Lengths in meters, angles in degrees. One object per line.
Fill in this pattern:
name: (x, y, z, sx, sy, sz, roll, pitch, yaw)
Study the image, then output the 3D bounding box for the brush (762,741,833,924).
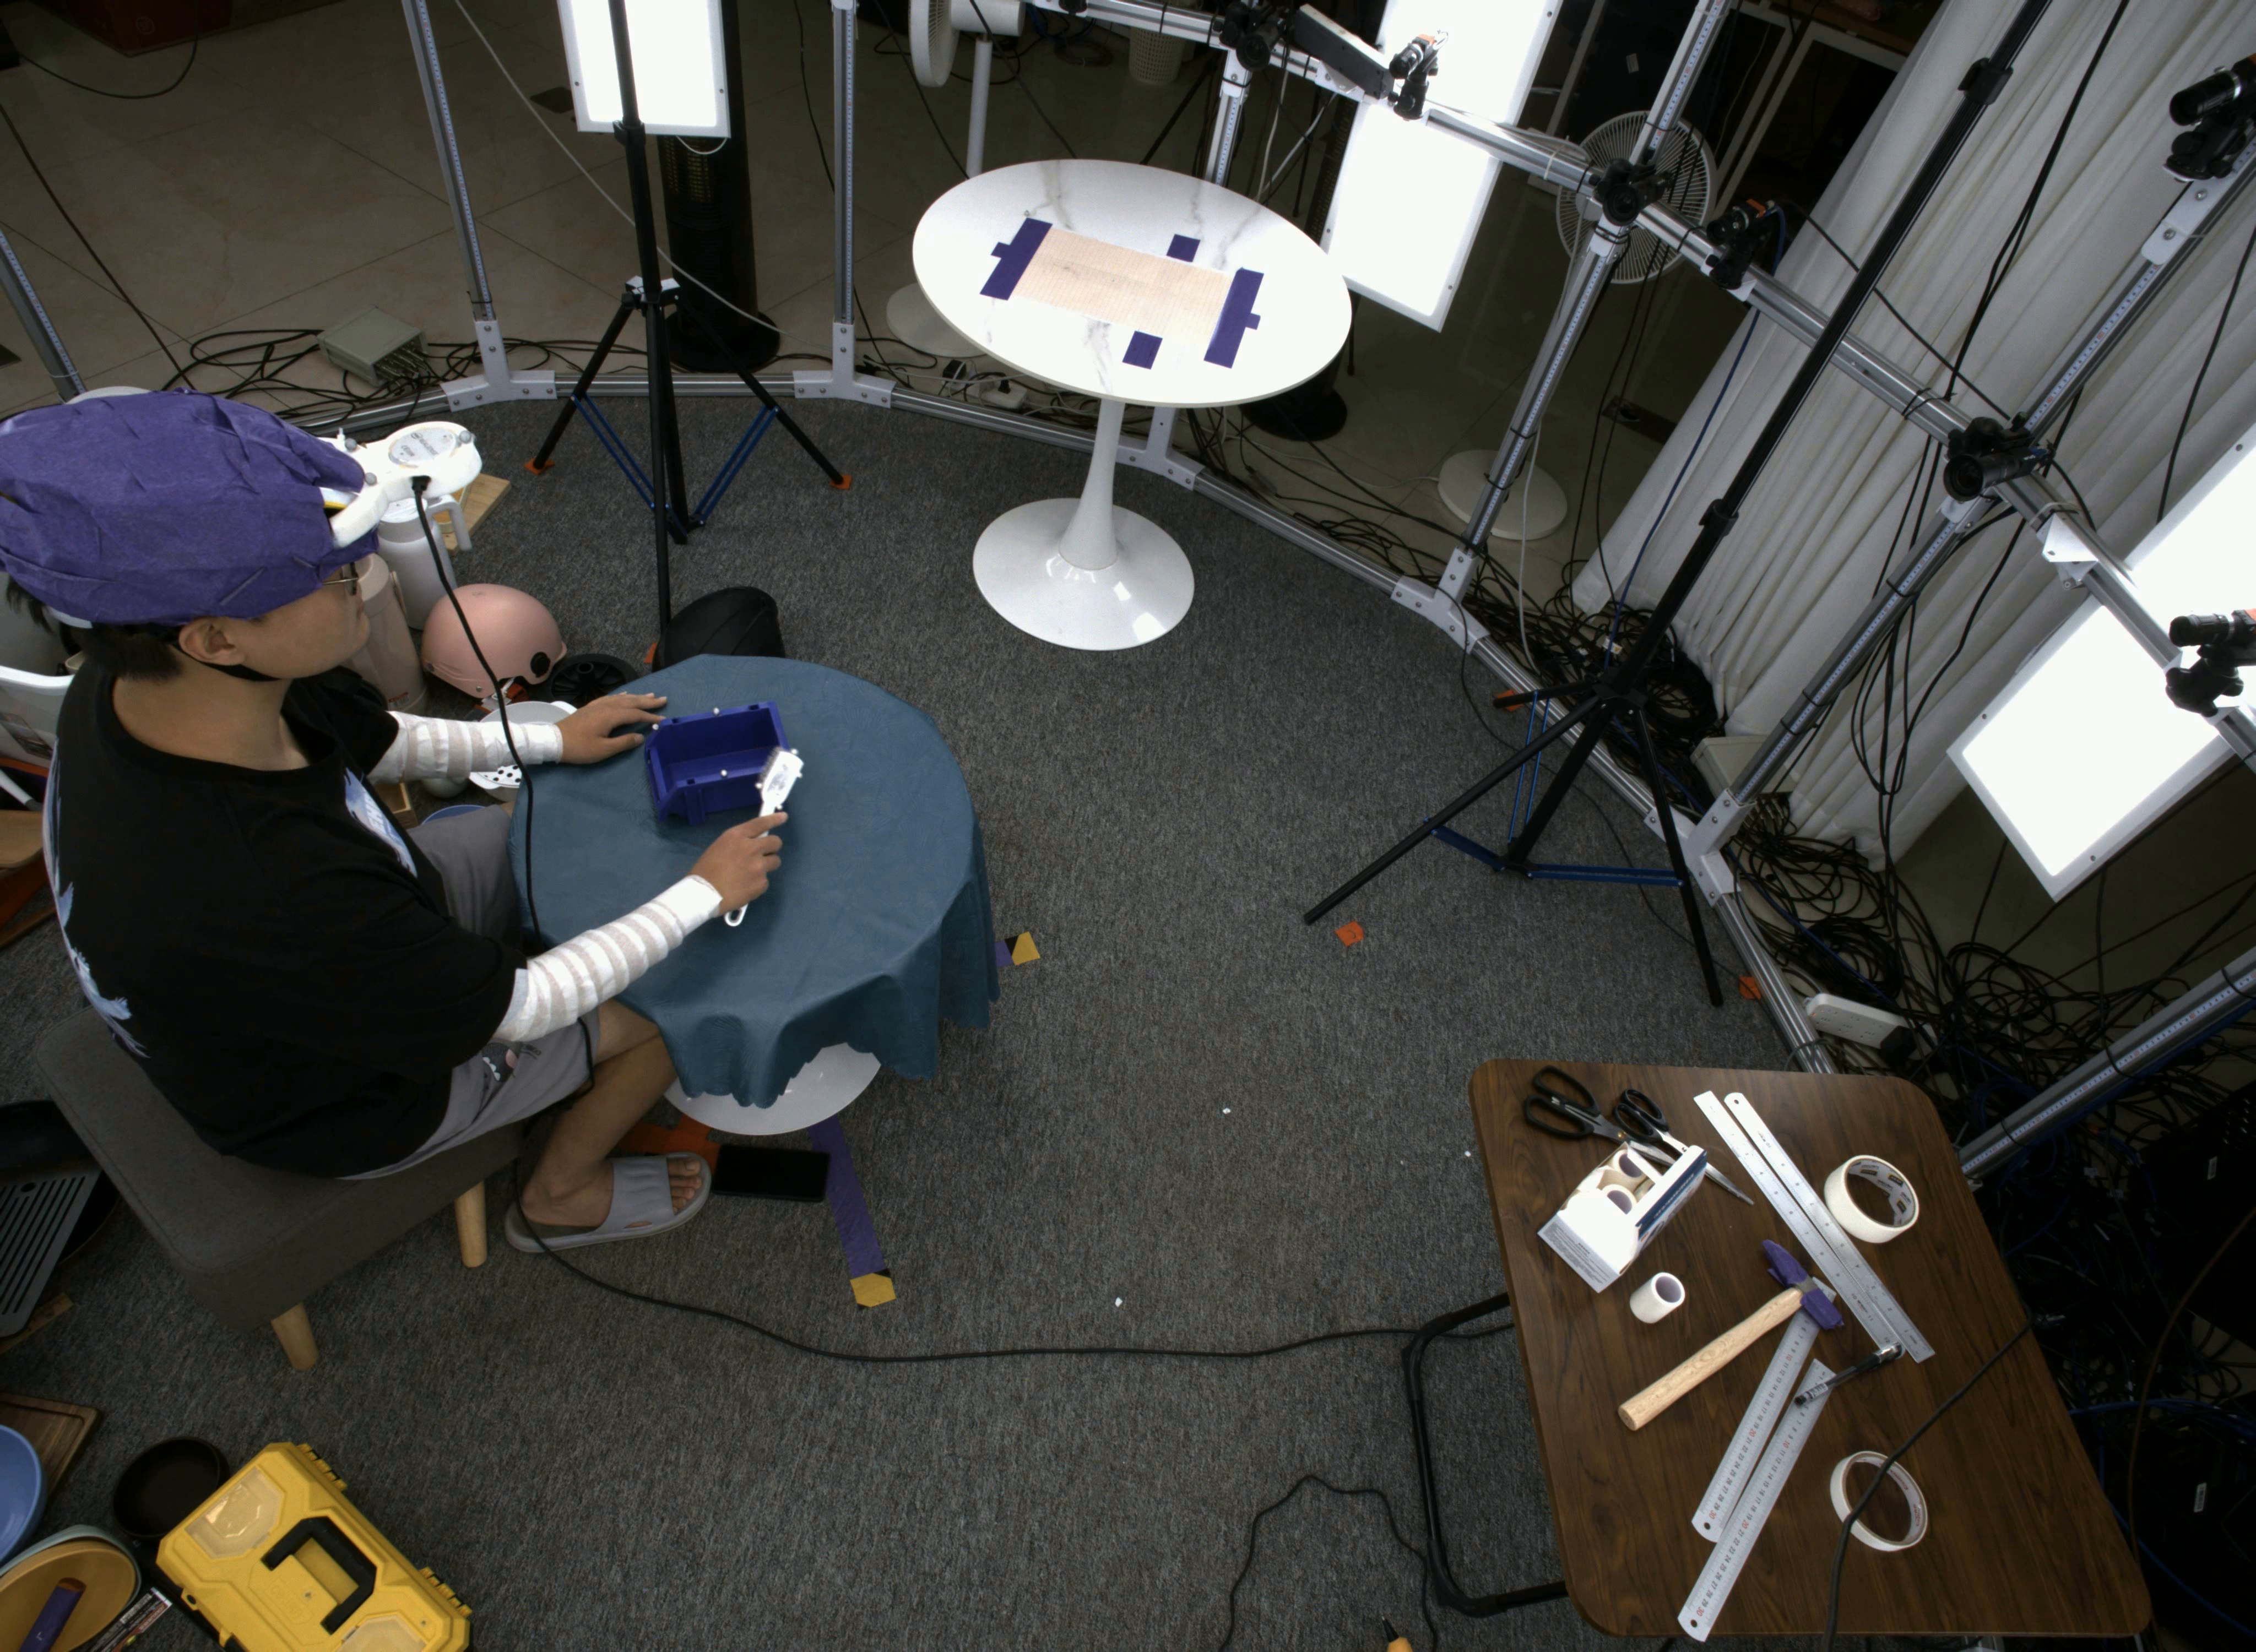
brush: (-0.429, 0.007, 1.650, 0.035, 0.049, 0.244, 24, 73, -35)

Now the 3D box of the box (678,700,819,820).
box: (-0.505, -0.086, 1.726, 0.180, 0.083, 0.121, -8, 56, -21)
